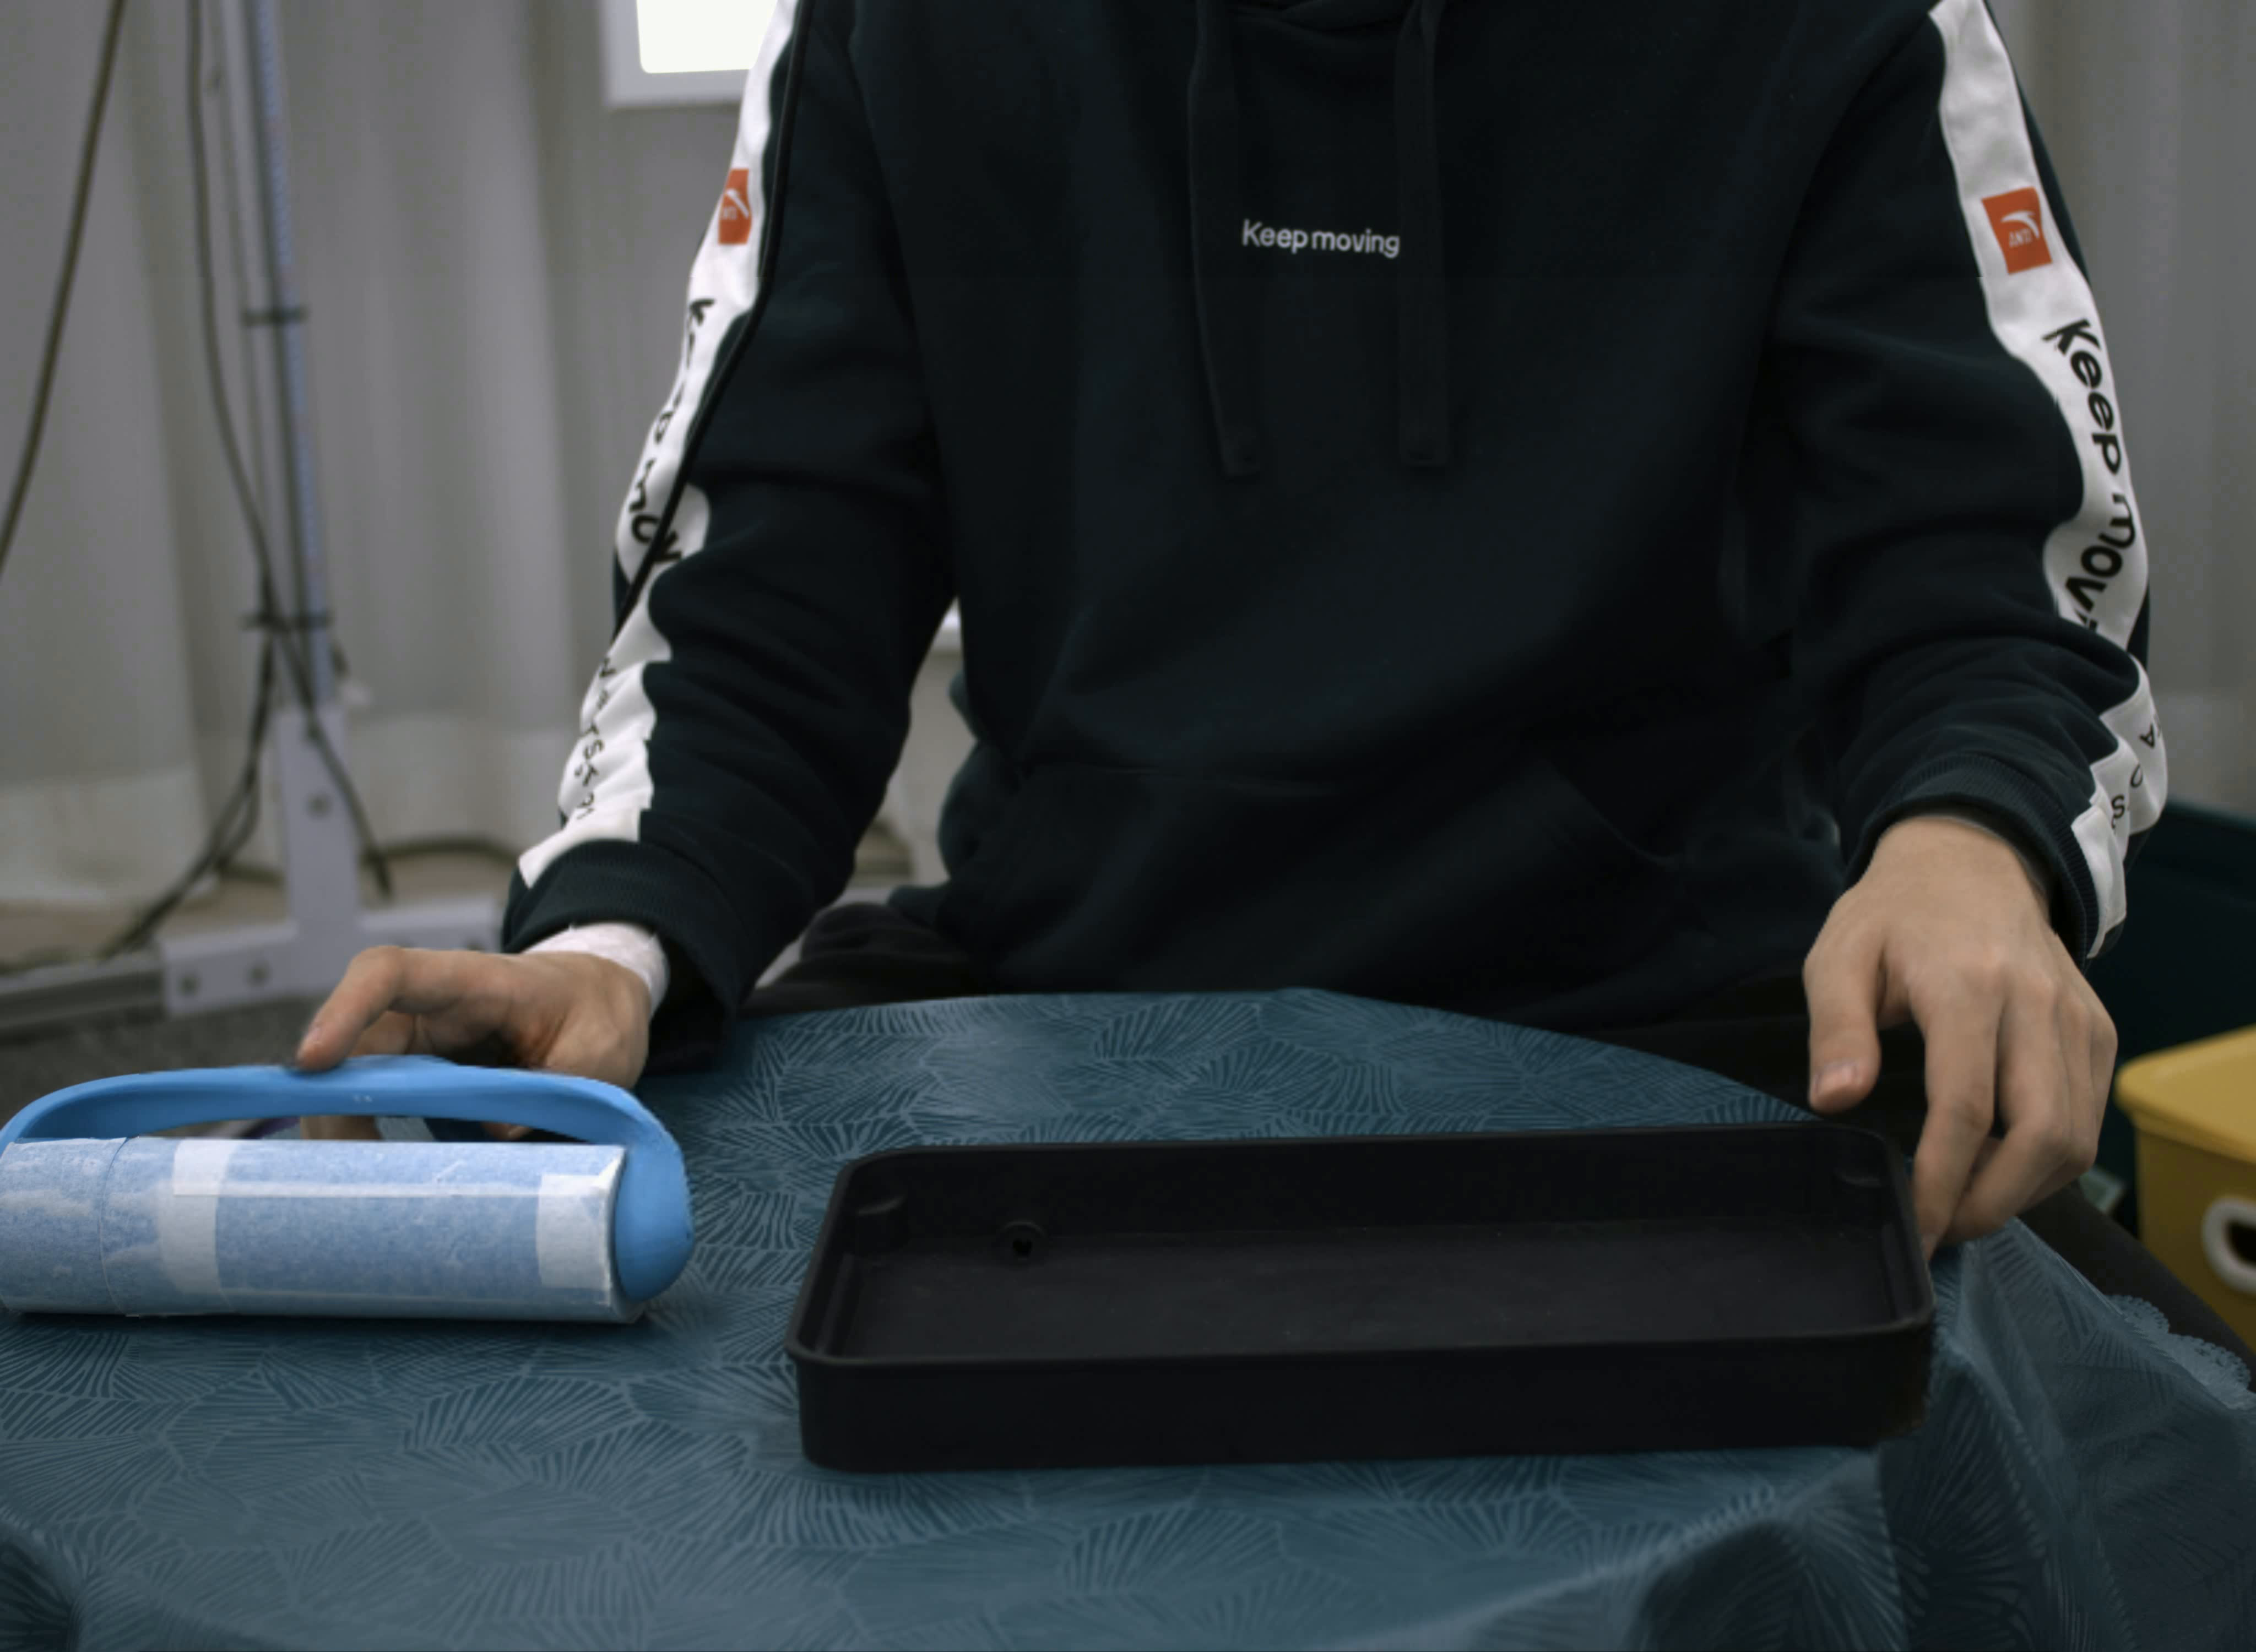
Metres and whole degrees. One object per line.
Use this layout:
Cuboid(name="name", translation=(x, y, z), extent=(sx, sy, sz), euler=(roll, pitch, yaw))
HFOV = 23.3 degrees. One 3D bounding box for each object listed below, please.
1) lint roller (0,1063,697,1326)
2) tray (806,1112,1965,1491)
Cuboid(name="lint roller", translation=(-0.232, 0.104, 1.693), extent=(0.228, 0.067, 0.181), euler=(-3, 16, 9))
Cuboid(name="tray", translation=(0.073, 0.134, 1.564), extent=(0.317, 0.037, 0.185), euler=(-3, 15, 3))
